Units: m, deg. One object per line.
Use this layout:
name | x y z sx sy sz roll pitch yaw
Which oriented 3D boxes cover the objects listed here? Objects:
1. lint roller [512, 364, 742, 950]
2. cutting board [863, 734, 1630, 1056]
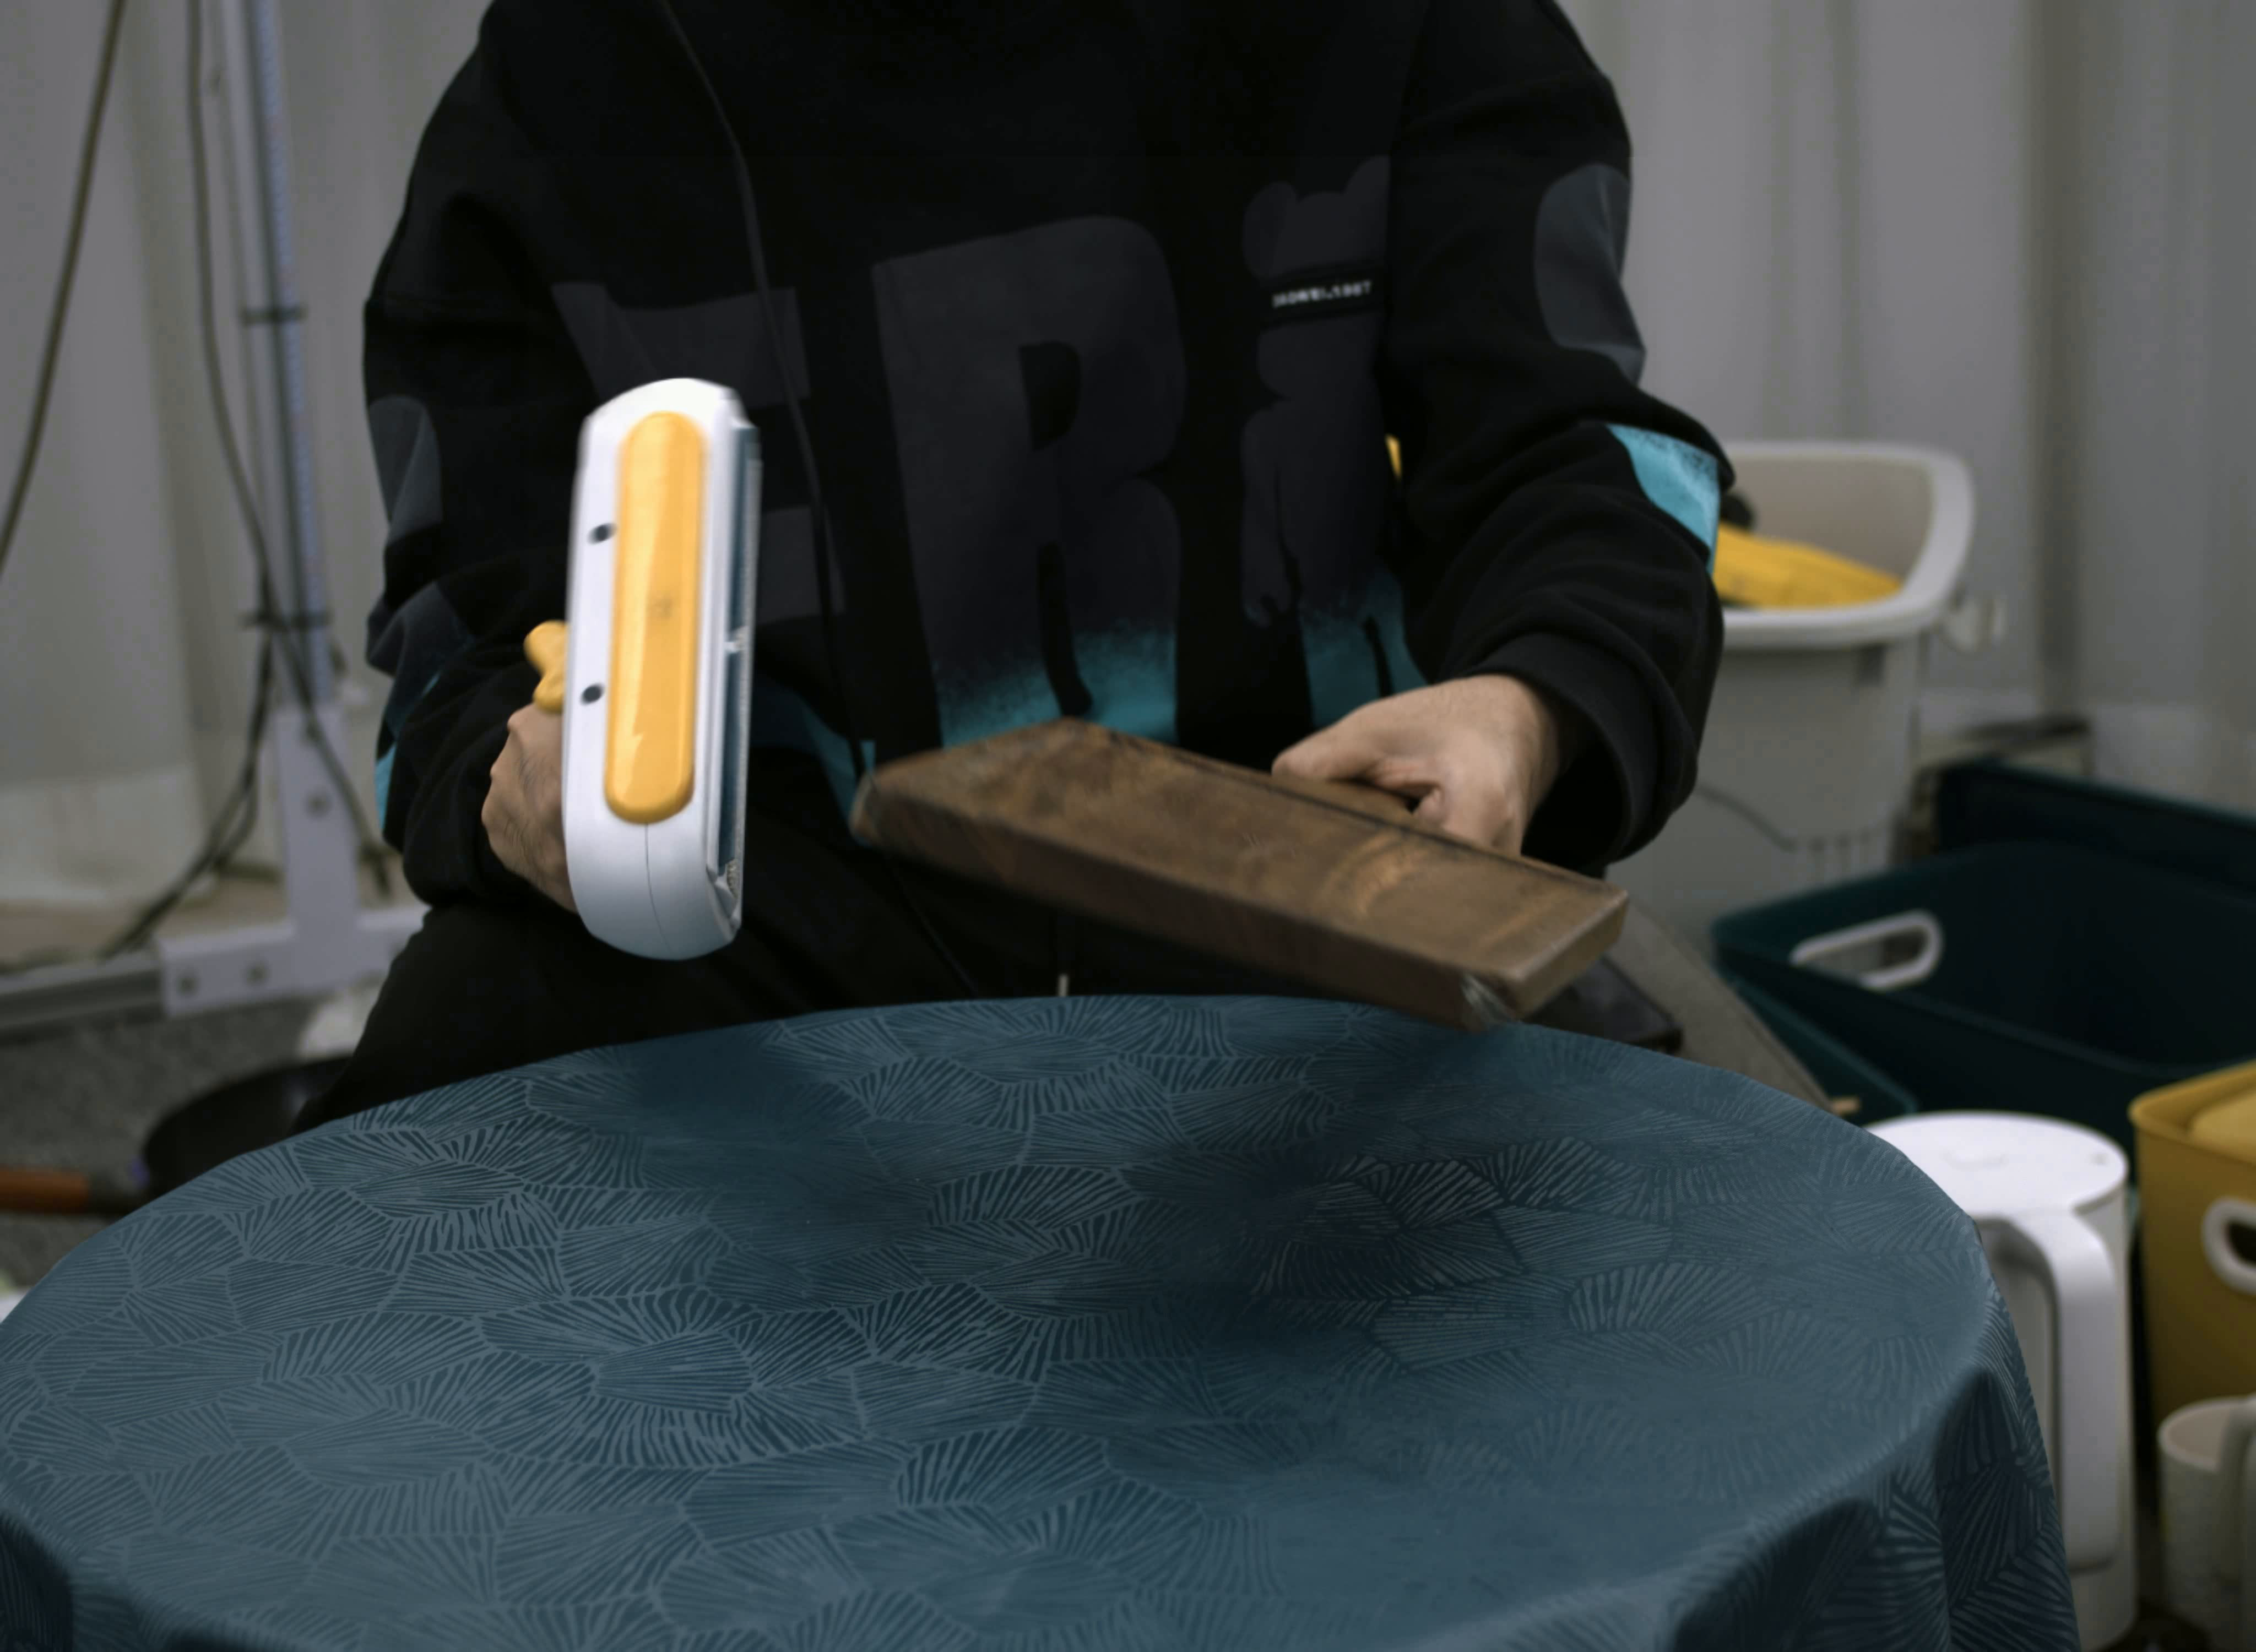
lint roller | -0.154 -0.024 1.763 0.074 0.190 0.196 -7 58 -2
cutting board | 0.052 0.013 1.682 0.201 0.023 0.352 16 8 10
